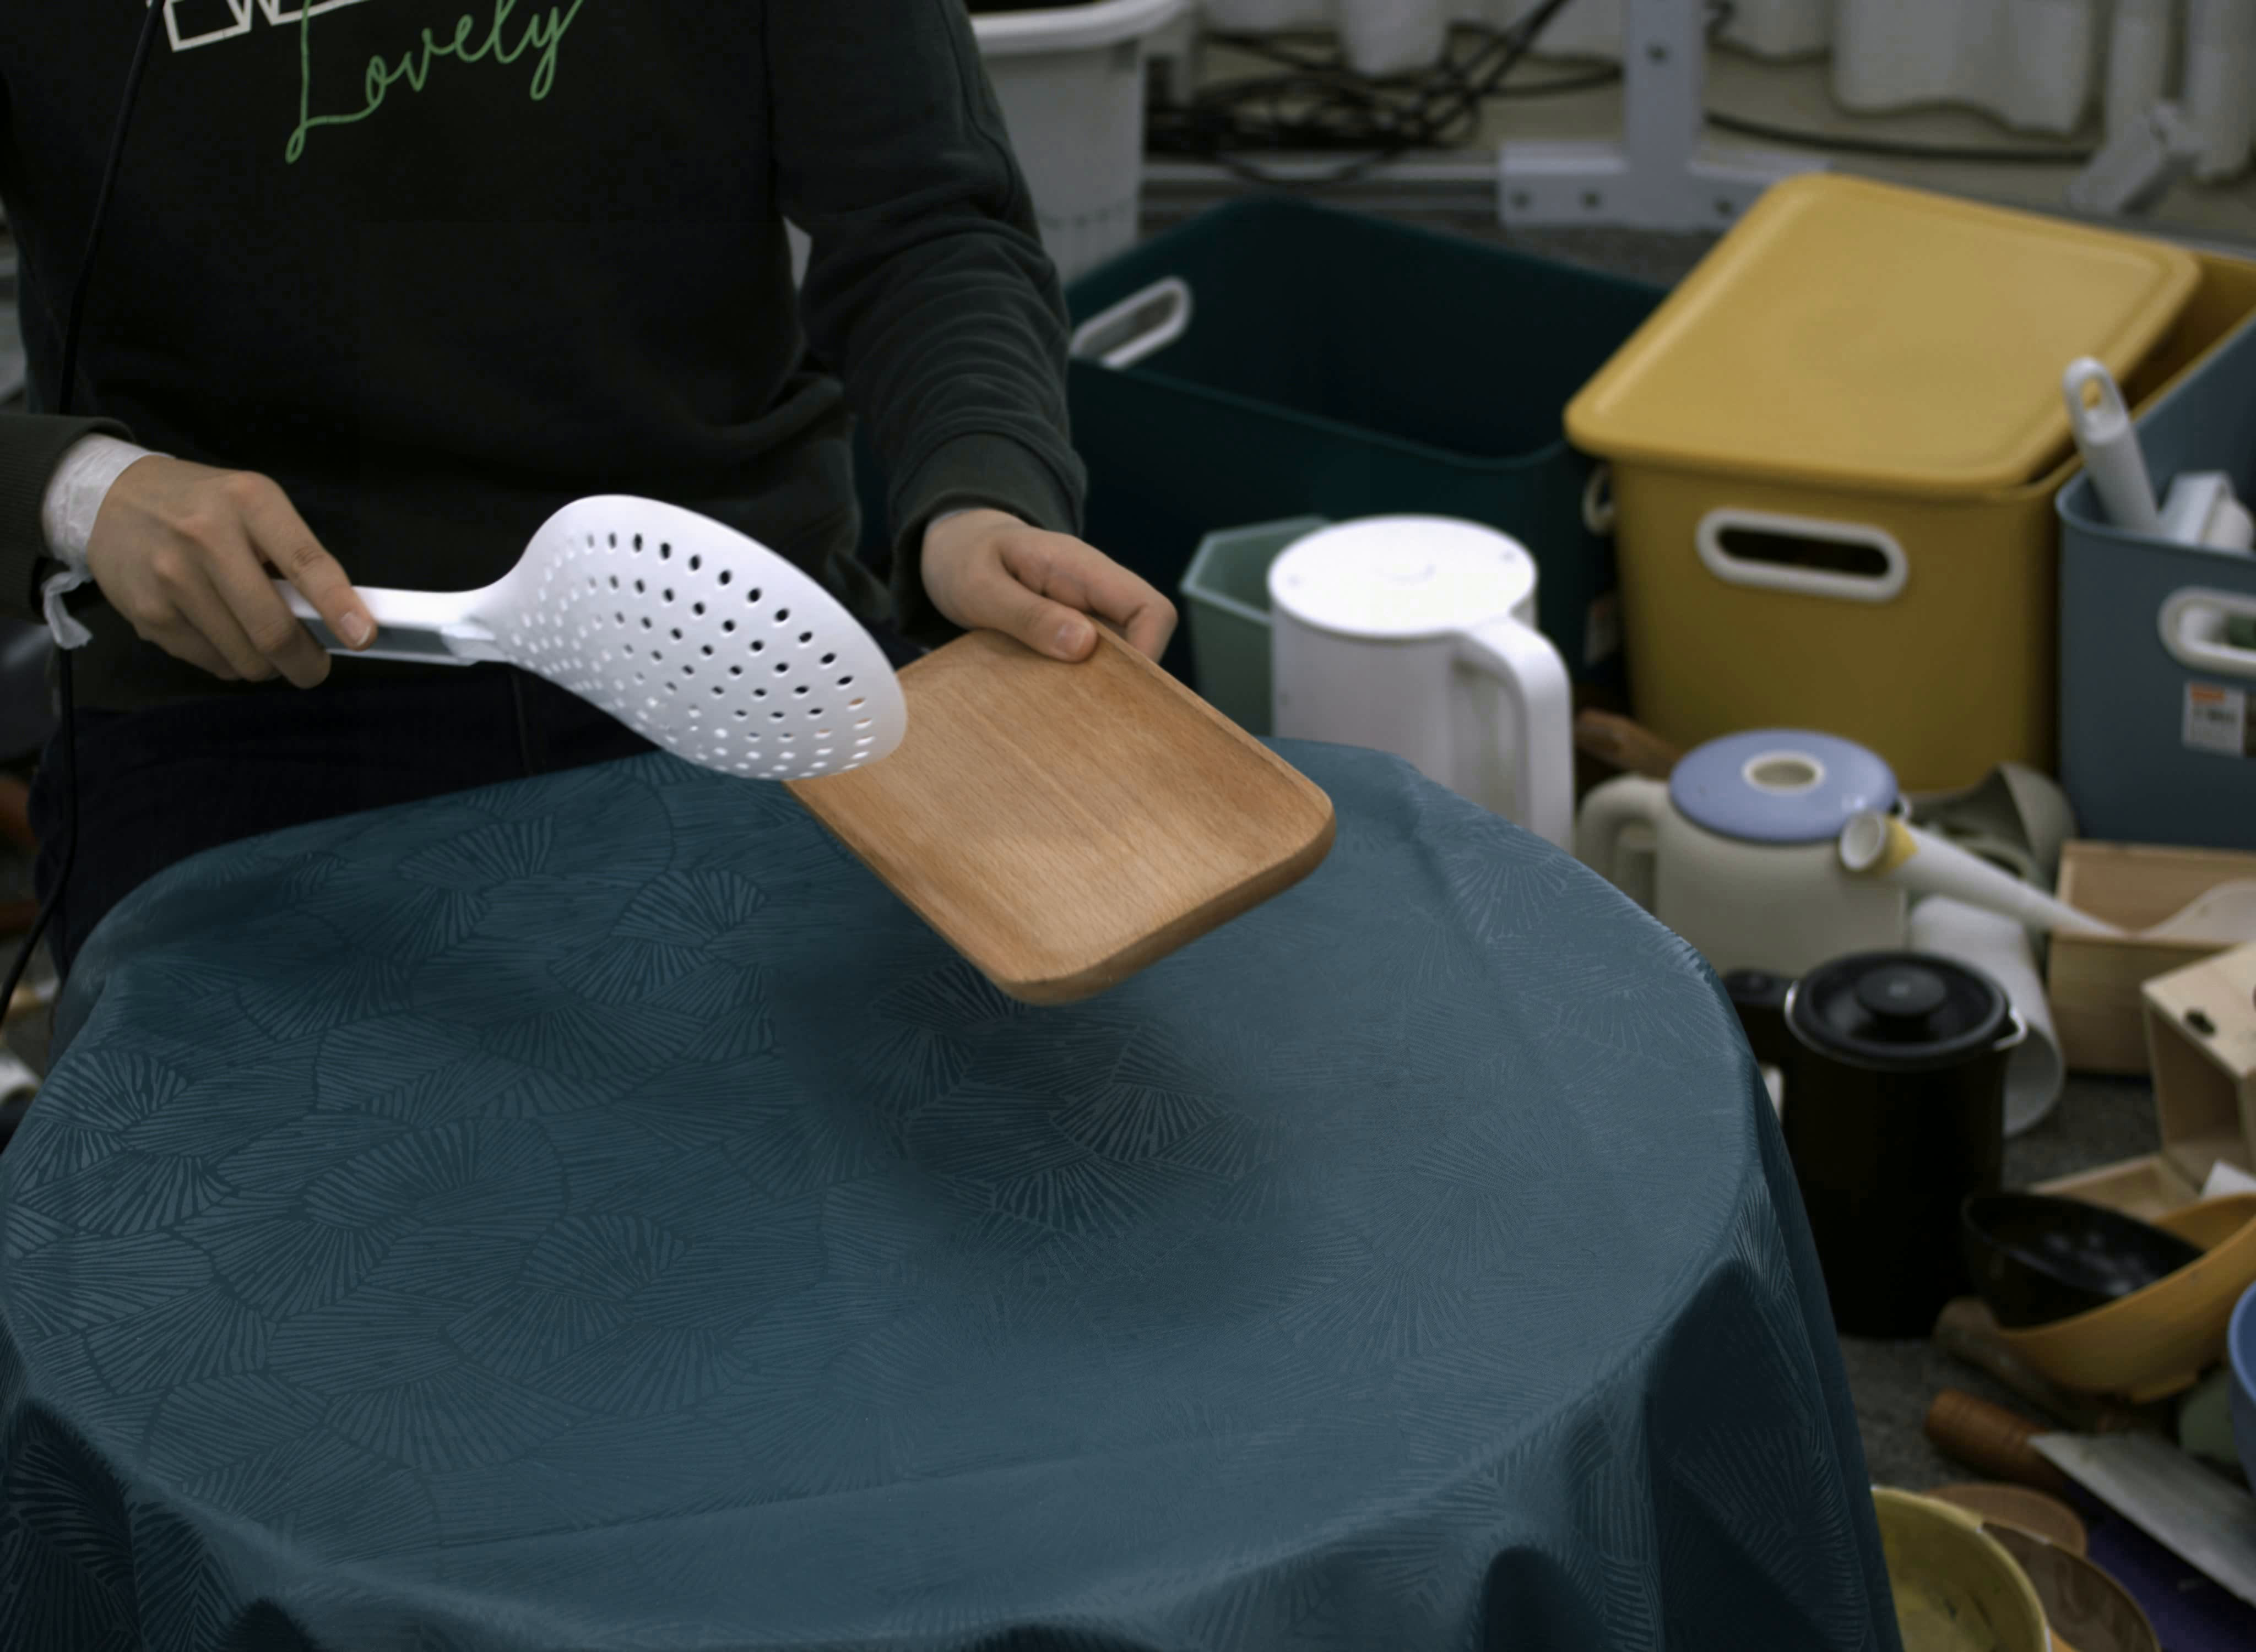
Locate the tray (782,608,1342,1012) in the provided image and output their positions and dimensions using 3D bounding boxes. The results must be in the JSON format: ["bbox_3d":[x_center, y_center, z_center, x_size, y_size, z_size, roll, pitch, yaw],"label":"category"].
[{"bbox_3d":[-0.025,-0.008,1.904,0.131,0.022,0.252,-26,27,-14],"label":"tray"}]

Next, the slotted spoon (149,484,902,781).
[{"bbox_3d":[-0.218,-0.066,1.923,0.347,0.135,0.046,10,55,44],"label":"slotted spoon"}]
